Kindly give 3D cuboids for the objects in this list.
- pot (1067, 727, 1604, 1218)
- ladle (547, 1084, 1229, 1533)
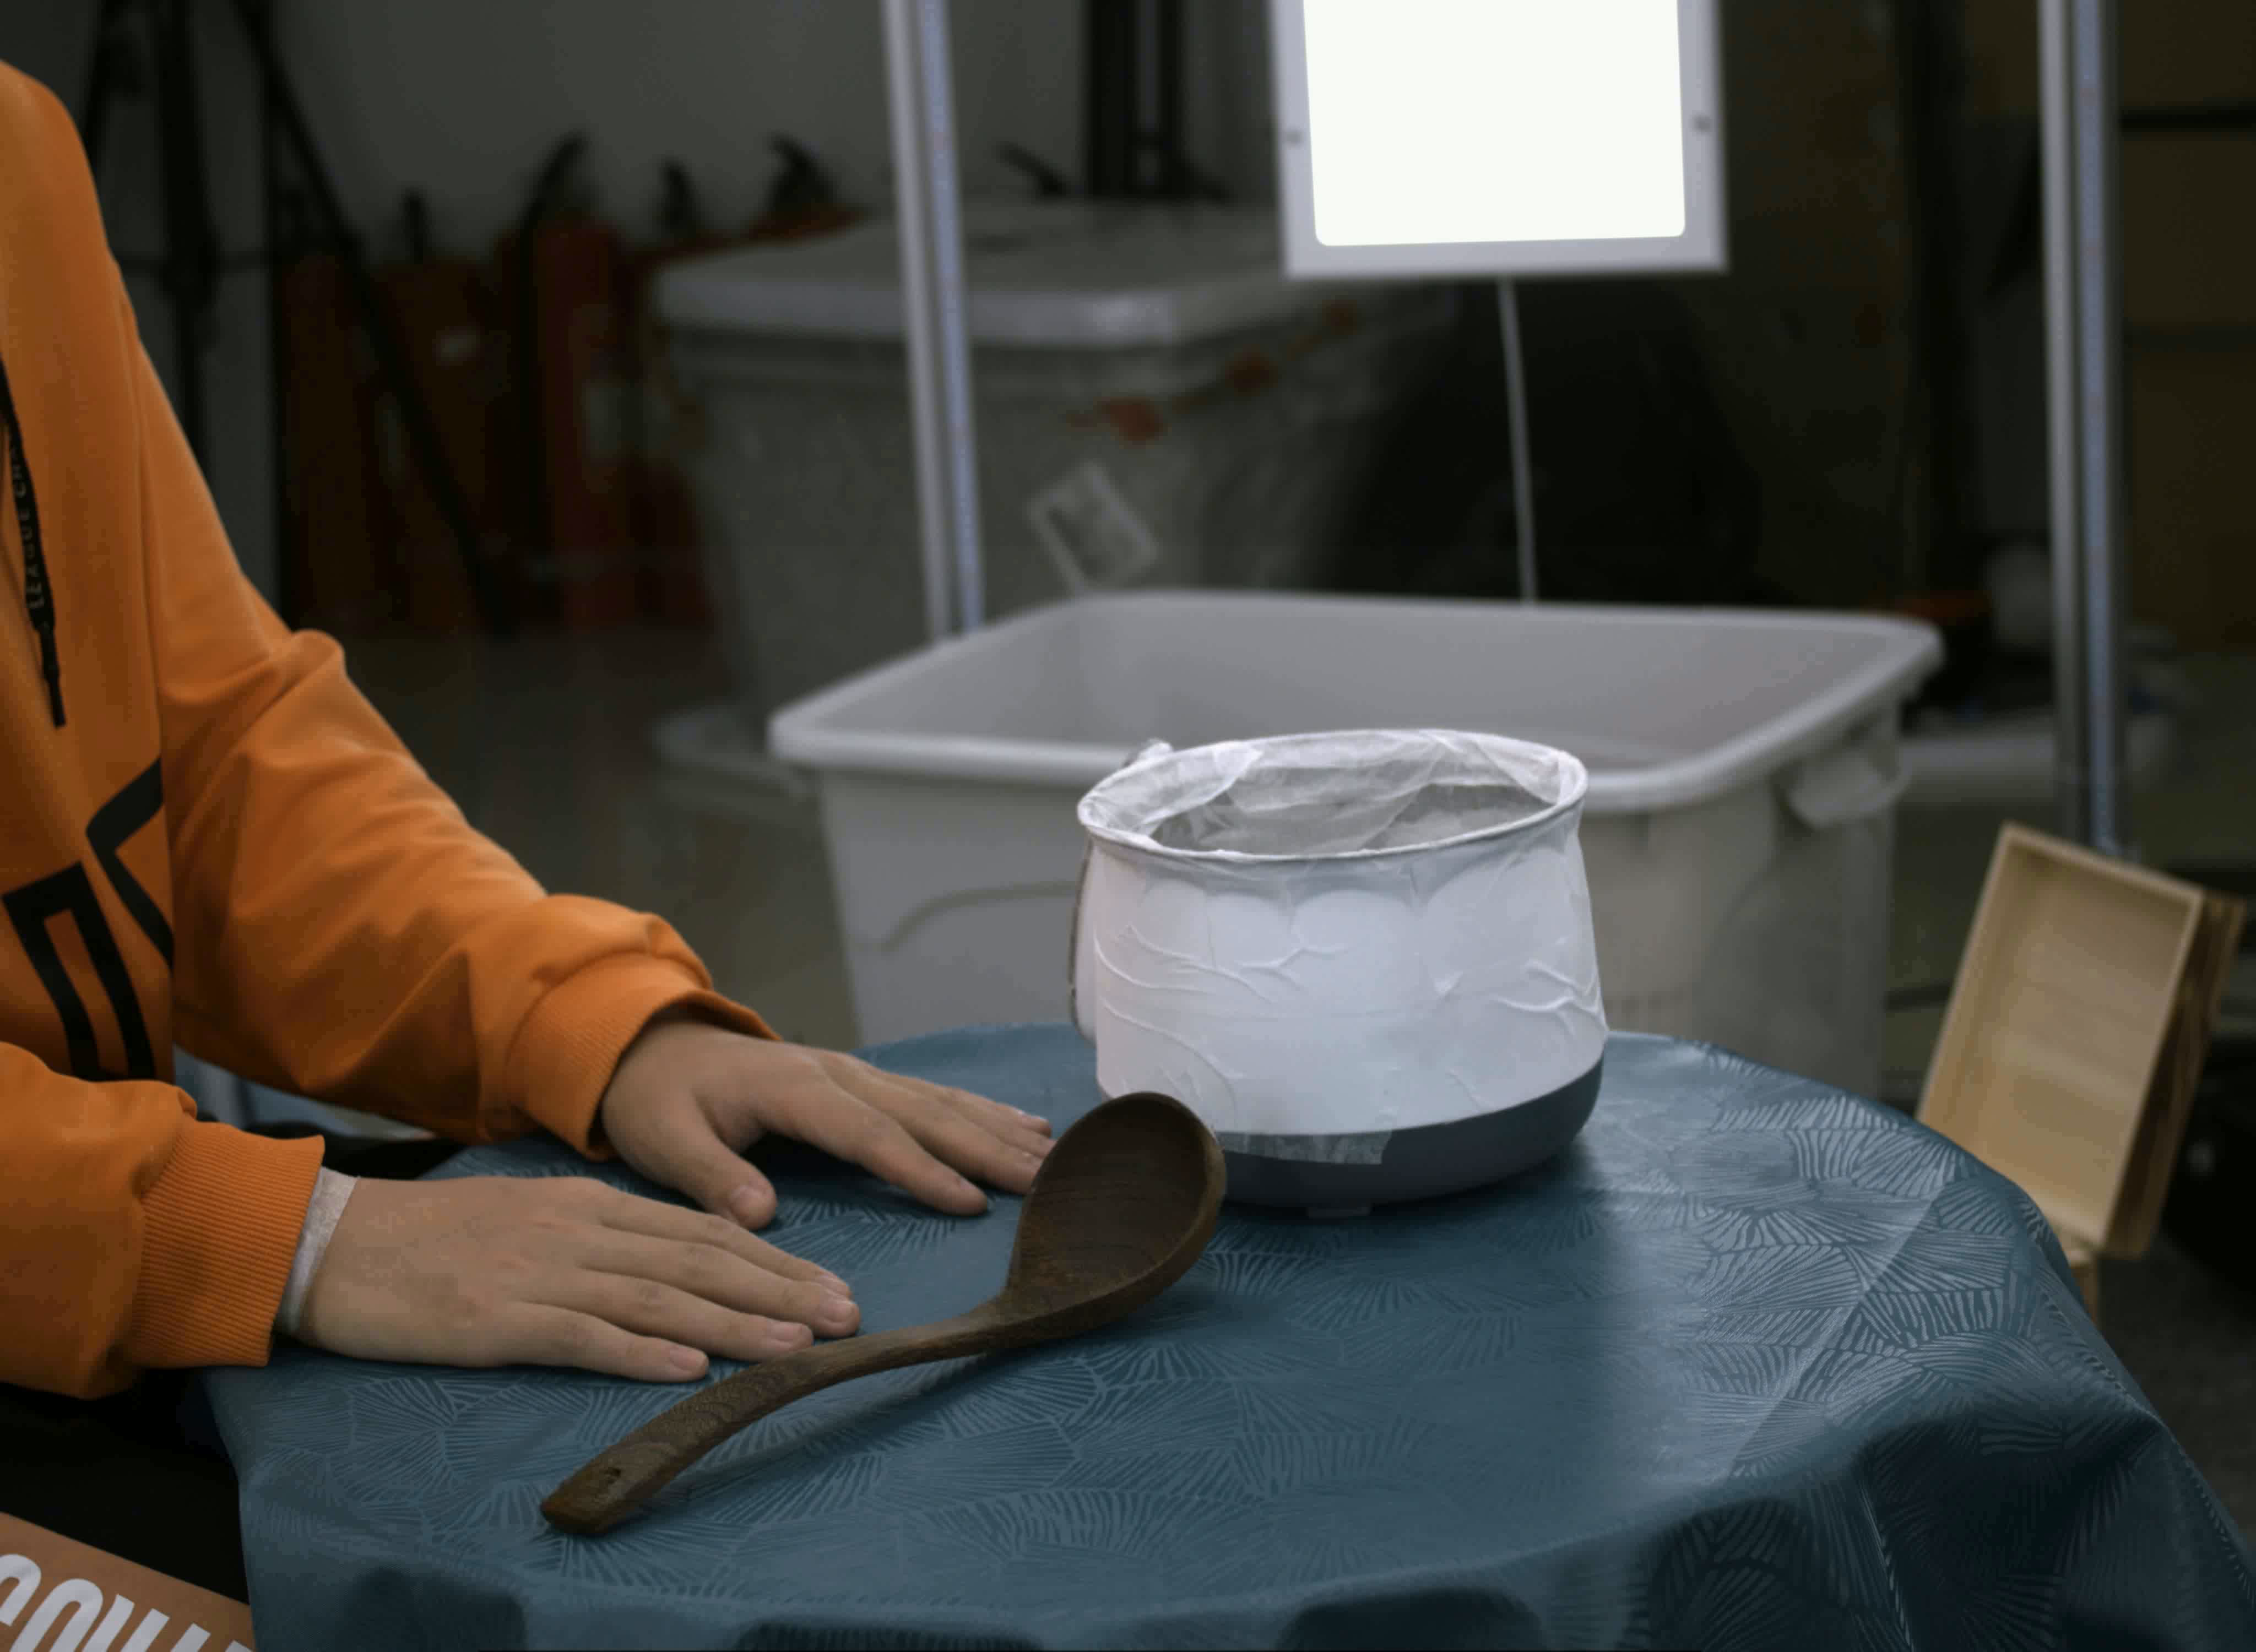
[{"bbox_3d":[0.057,0.045,1.920,0.174,0.137,0.238,-15,17,-36],"label":"pot"},{"bbox_3d":[-0.074,0.145,1.704,0.267,0.071,0.078,-17,15,-42],"label":"ladle"}]
